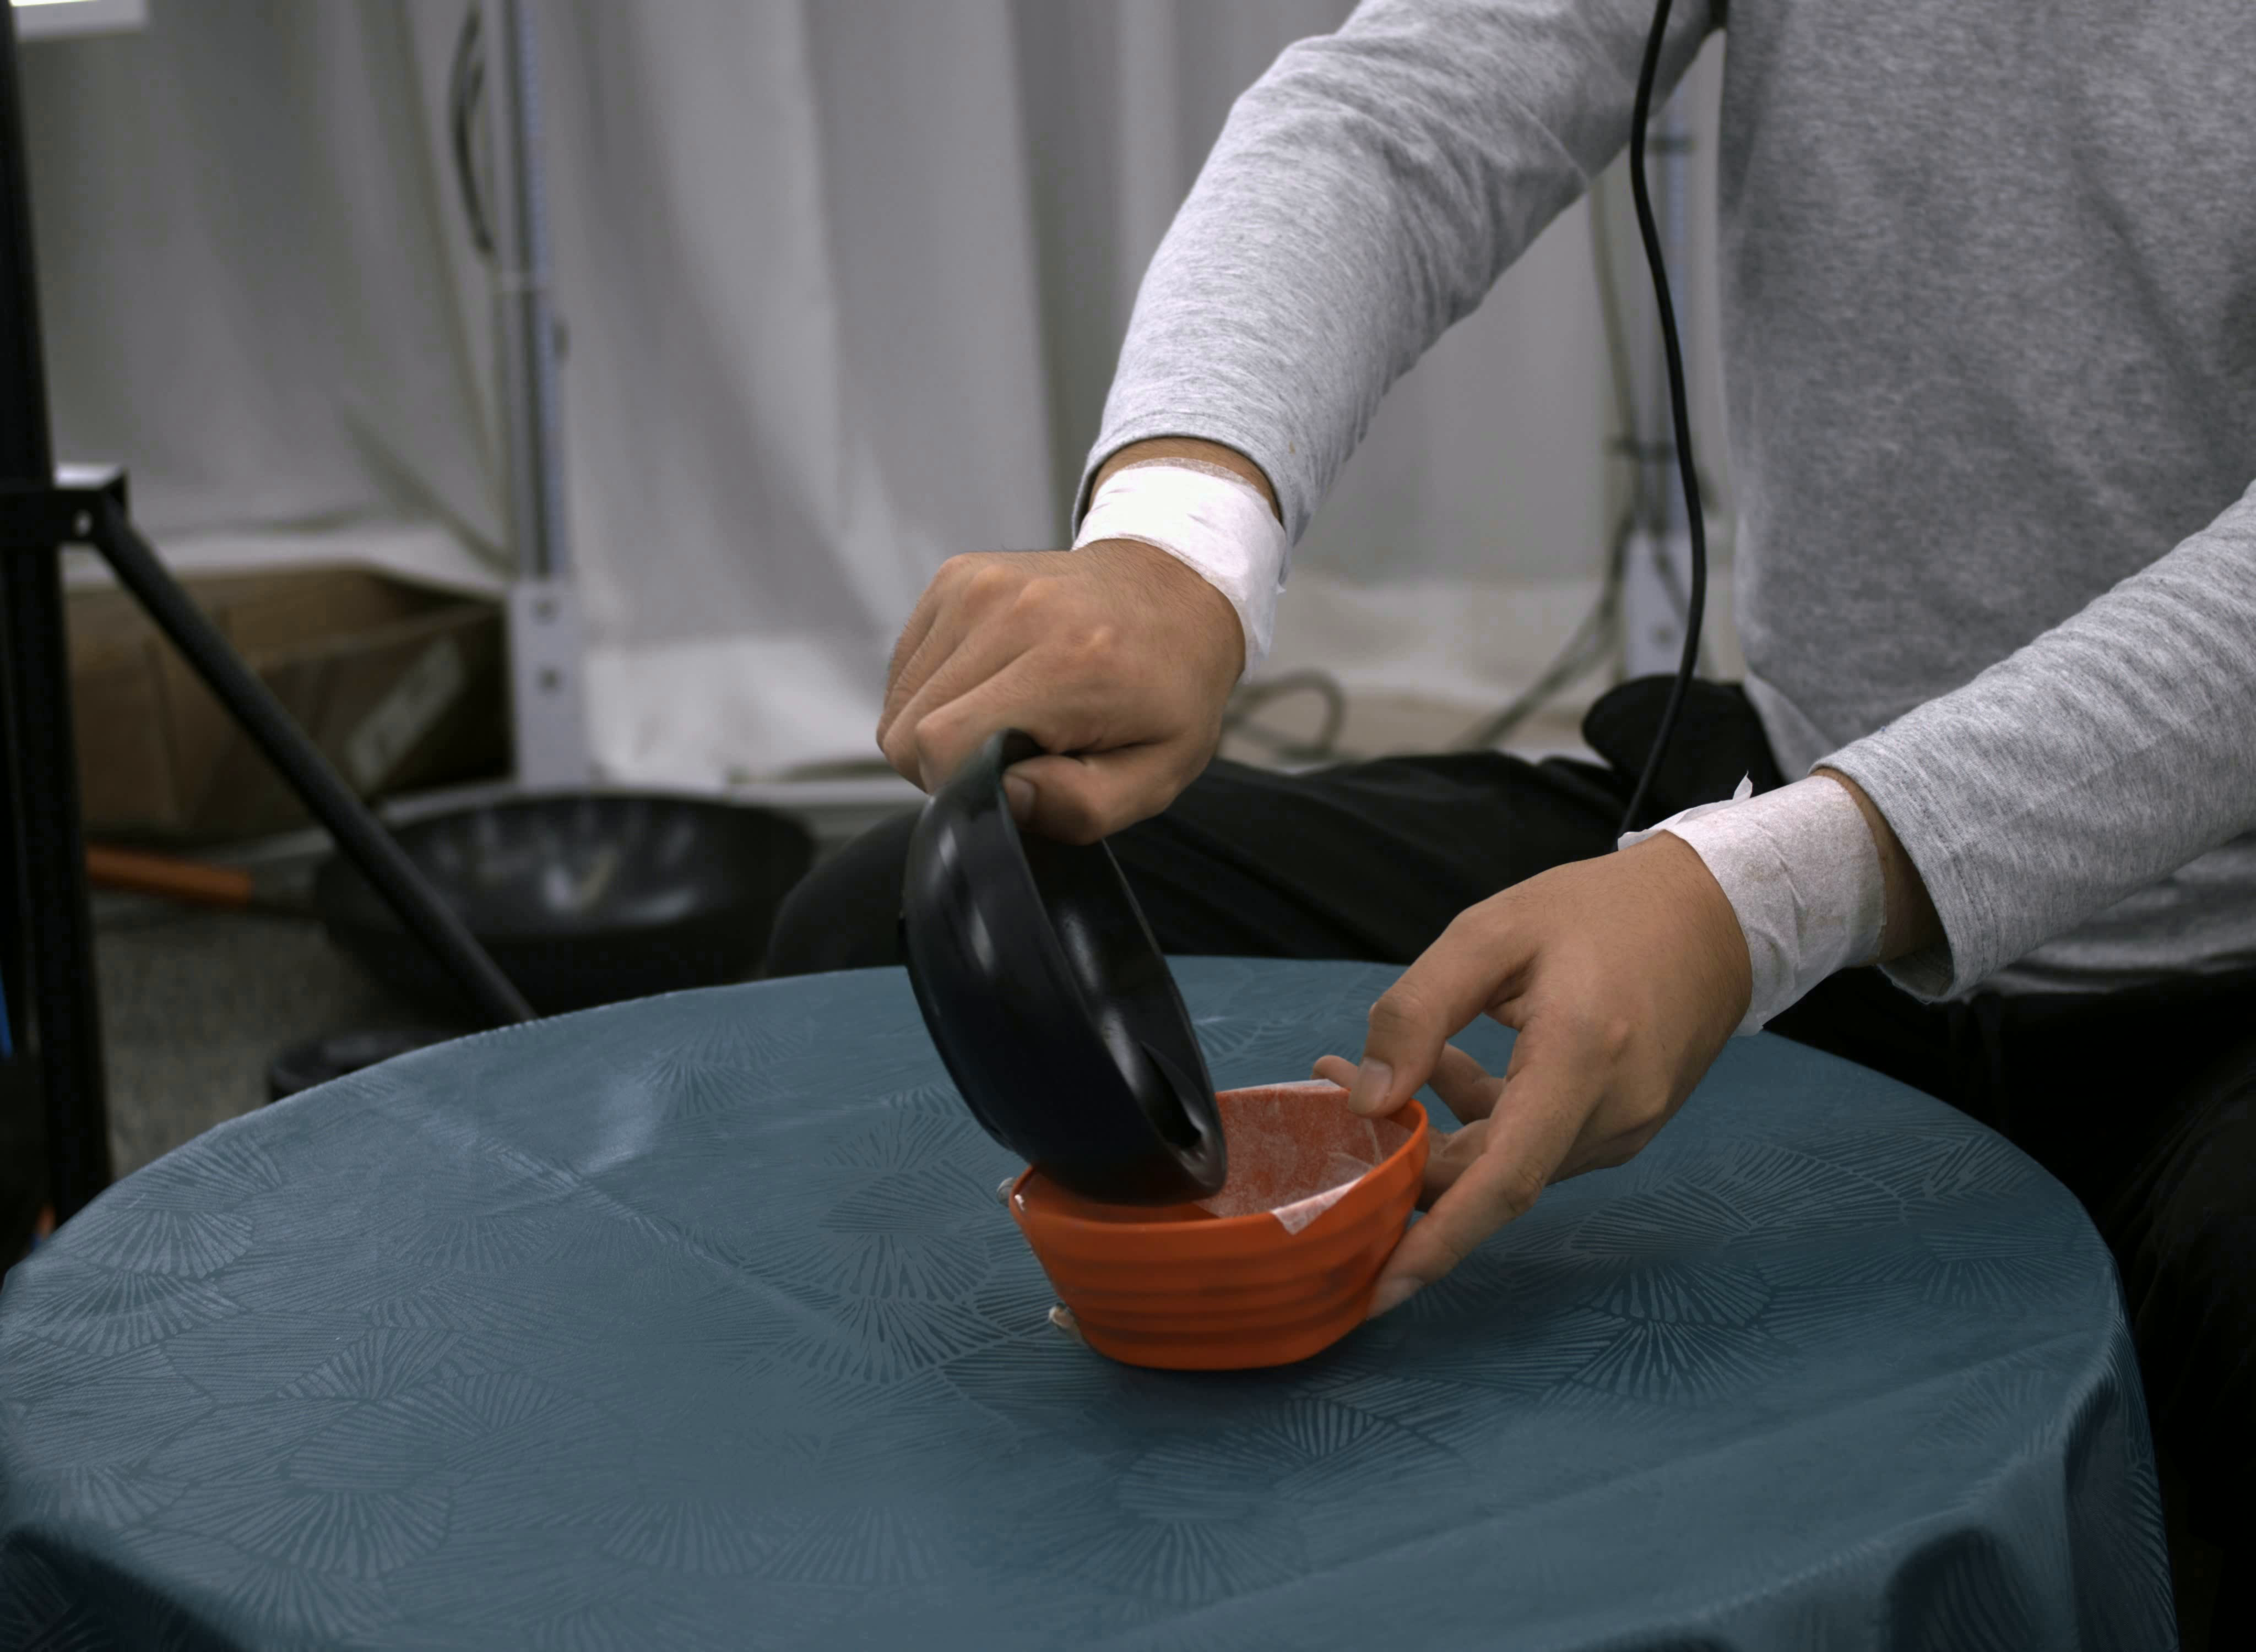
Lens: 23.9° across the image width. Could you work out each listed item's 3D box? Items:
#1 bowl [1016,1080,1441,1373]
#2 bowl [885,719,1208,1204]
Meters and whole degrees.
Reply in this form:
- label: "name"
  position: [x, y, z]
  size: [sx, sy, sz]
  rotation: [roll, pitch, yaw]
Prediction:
- label: "bowl"
  position: [0.031, 0.111, 1.434]
  size: [0.118, 0.051, 0.119]
  rotation: [-10, 16, 1]
- label: "bowl"
  position: [-0.028, 0.044, 1.432]
  size: [0.050, 0.139, 0.141]
  rotation: [-25, 14, 5]
